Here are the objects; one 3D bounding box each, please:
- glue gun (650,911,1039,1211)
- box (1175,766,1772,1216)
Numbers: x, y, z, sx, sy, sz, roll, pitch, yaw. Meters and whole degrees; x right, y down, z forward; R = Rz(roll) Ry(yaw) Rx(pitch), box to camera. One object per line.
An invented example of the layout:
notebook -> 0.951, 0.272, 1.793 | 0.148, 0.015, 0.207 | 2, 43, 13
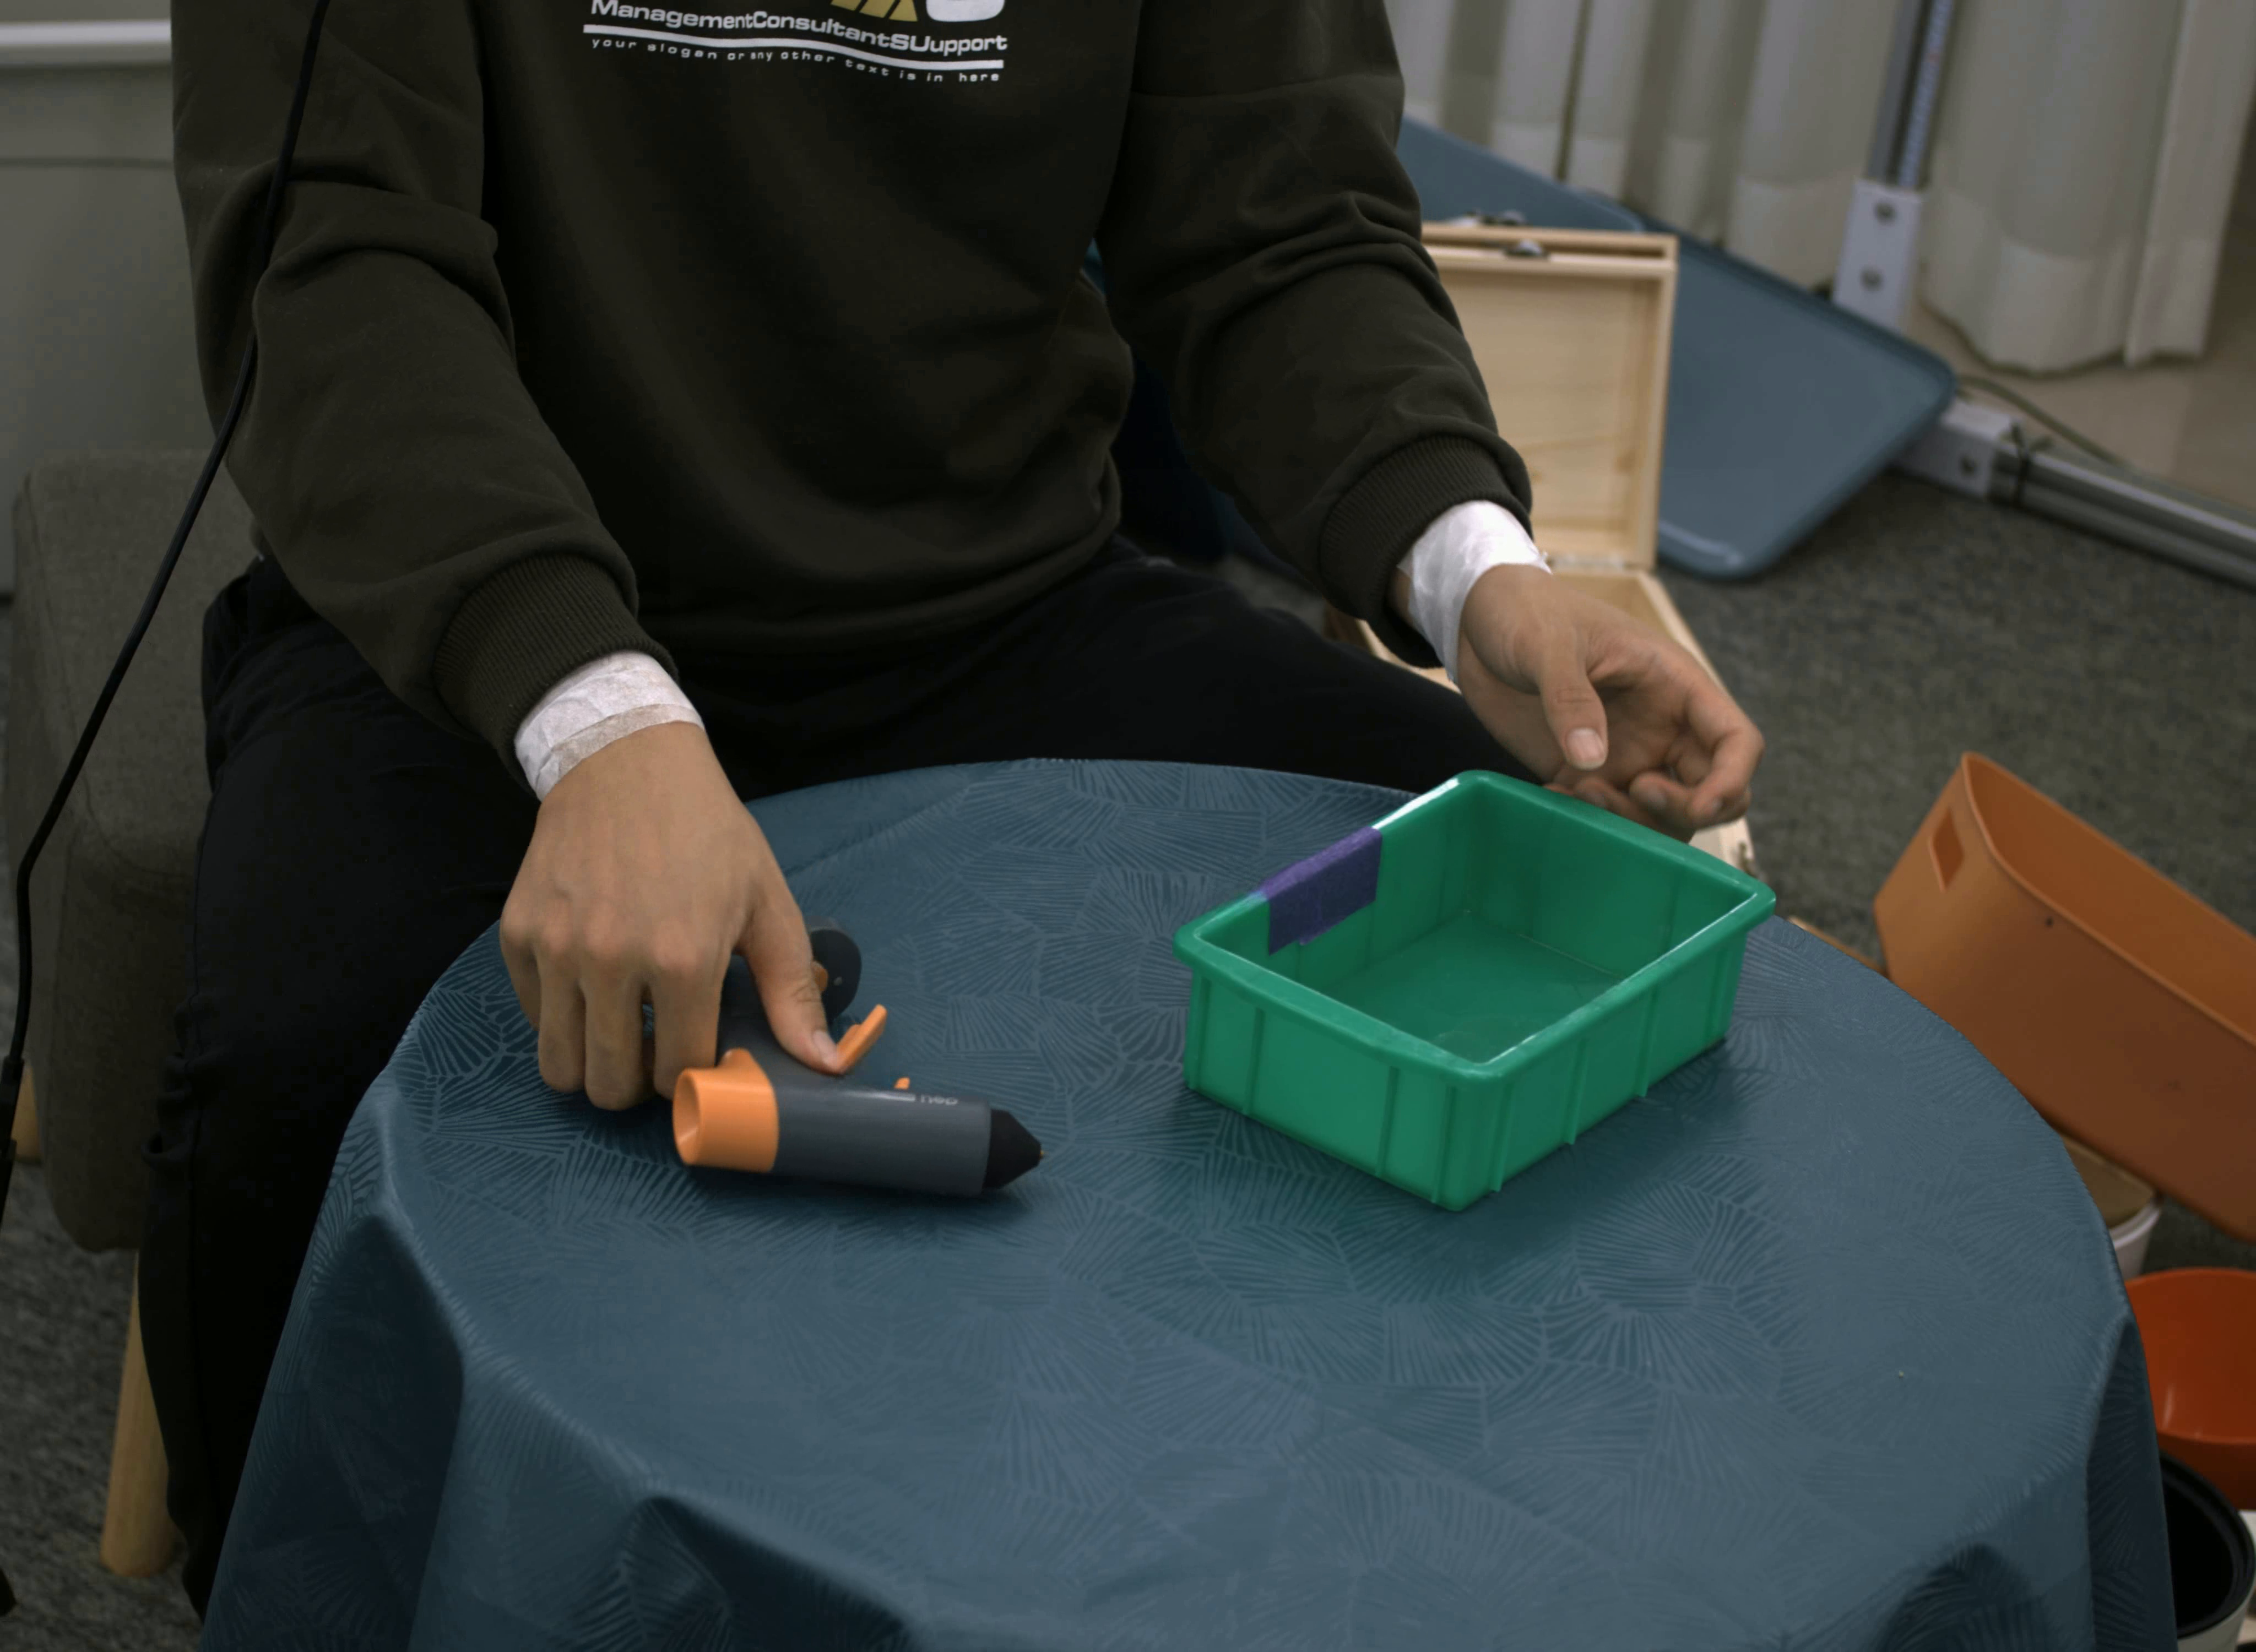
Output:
glue gun -> -0.103, 0.084, 1.825 | 0.117, 0.041, 0.141 | 8, 25, -28
box -> 0.122, 0.059, 1.898 | 0.139, 0.065, 0.210 | 22, 33, 30
